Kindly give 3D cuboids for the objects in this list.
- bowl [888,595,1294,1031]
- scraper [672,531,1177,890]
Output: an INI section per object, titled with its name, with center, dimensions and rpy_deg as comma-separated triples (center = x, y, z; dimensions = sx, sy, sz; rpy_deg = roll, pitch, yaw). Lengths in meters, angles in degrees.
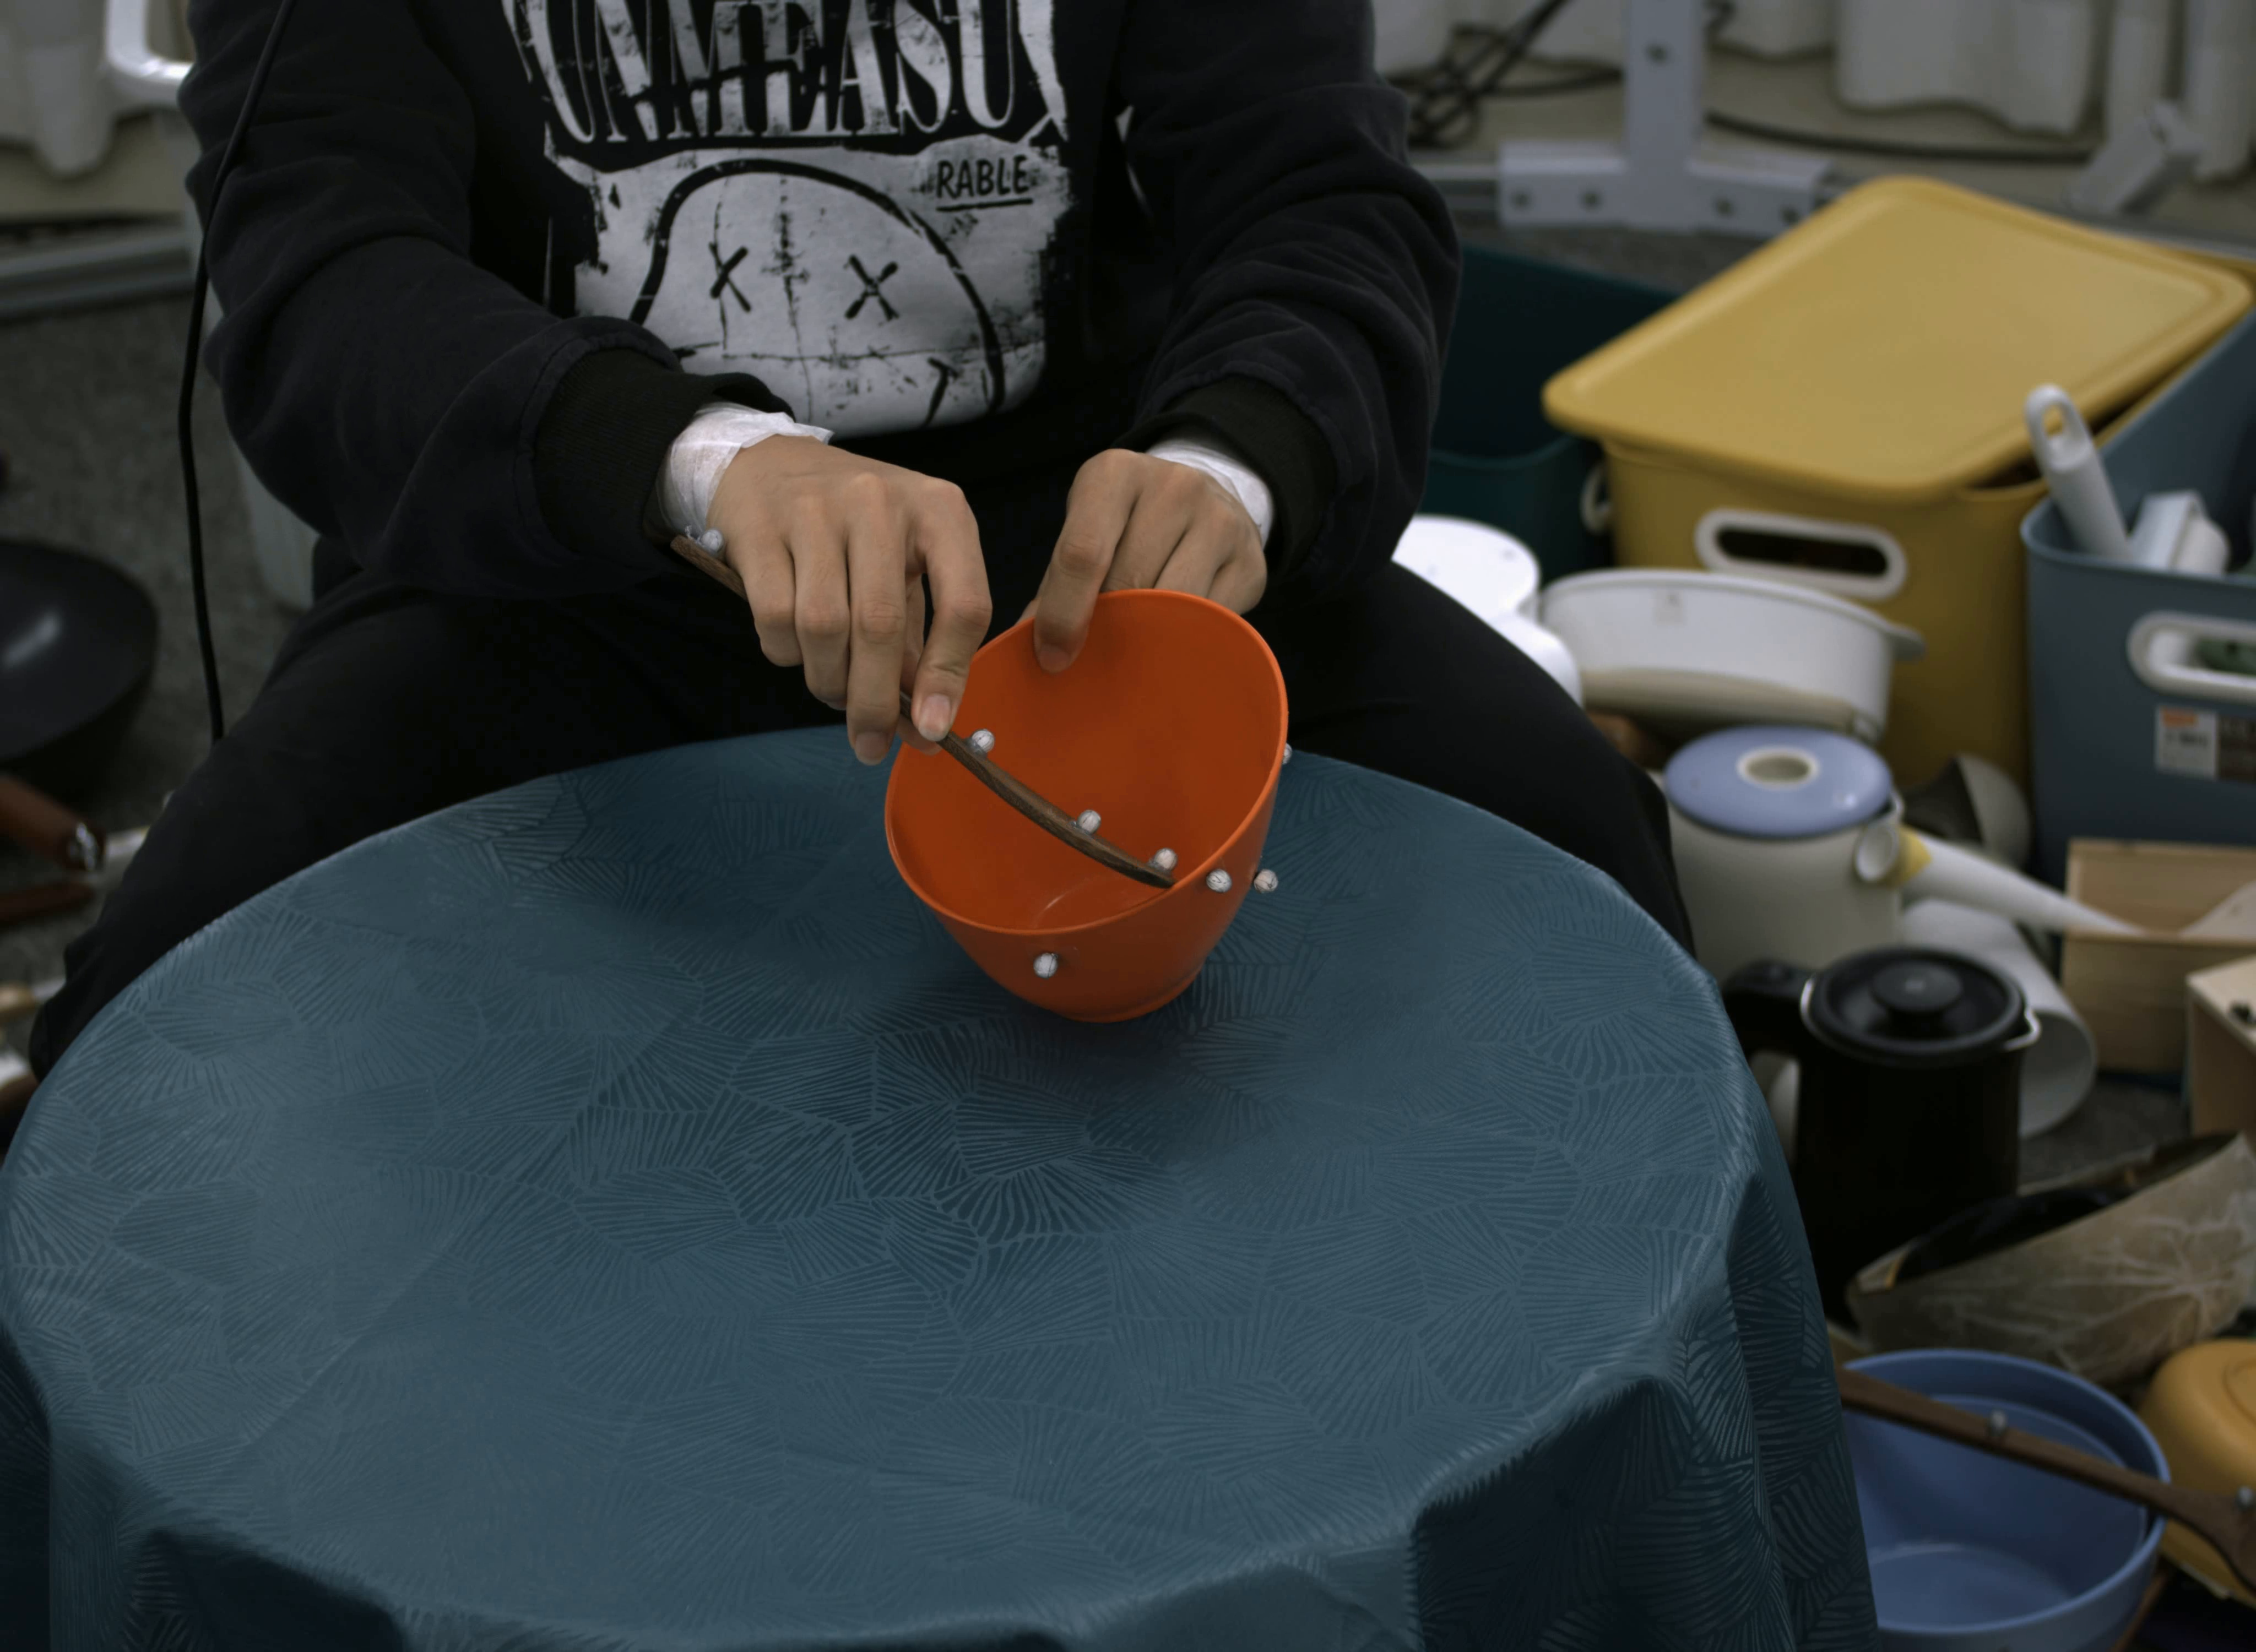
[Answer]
[bowl]
center = -0.005, 0.007, 1.953
dimensions = 0.147, 0.103, 0.151
rpy_deg = -8, 44, 8
[scraper]
center = -0.070, -0.038, 1.901
dimensions = 0.211, 0.011, 0.075
rpy_deg = 36, 2, 13
